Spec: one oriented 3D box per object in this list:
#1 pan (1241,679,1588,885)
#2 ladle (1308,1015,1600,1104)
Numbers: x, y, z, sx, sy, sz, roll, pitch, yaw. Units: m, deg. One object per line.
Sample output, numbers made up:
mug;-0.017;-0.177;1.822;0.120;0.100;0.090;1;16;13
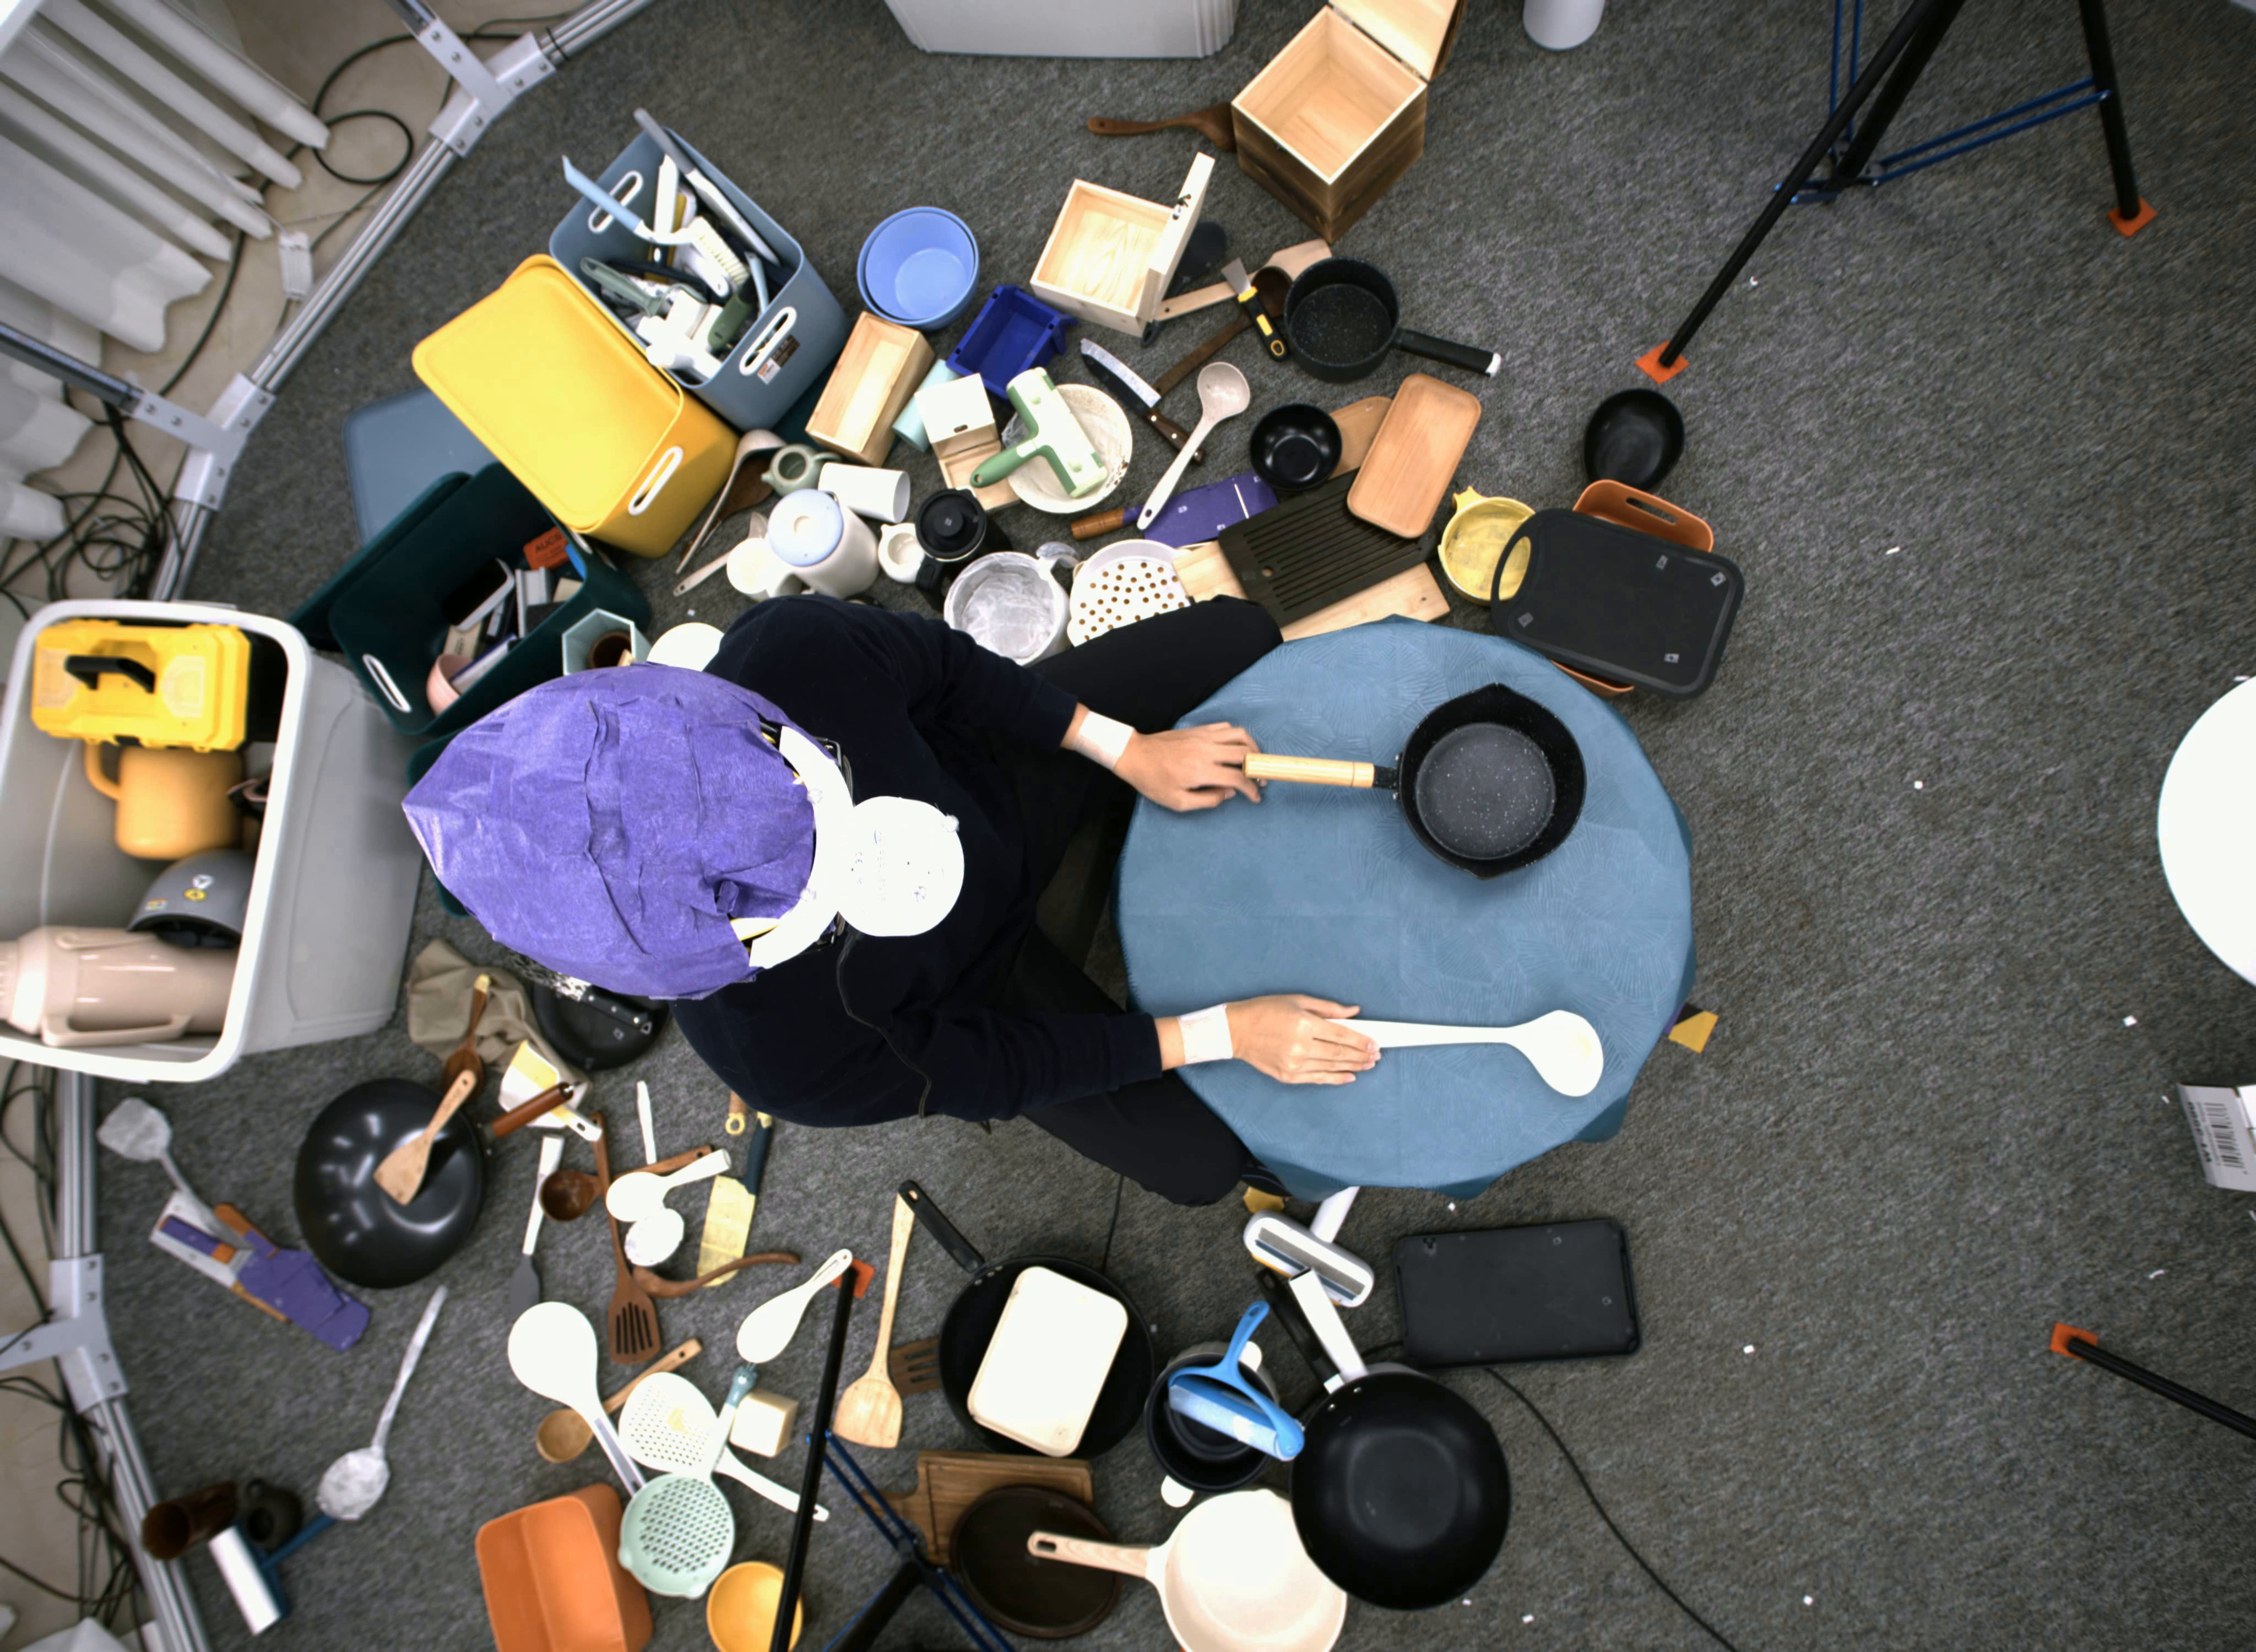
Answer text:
pan;0.288;-0.047;1.408;0.344;0.108;0.207;3;88;9
ladle;0.329;0.227;1.414;0.294;0.068;0.092;2;118;11
